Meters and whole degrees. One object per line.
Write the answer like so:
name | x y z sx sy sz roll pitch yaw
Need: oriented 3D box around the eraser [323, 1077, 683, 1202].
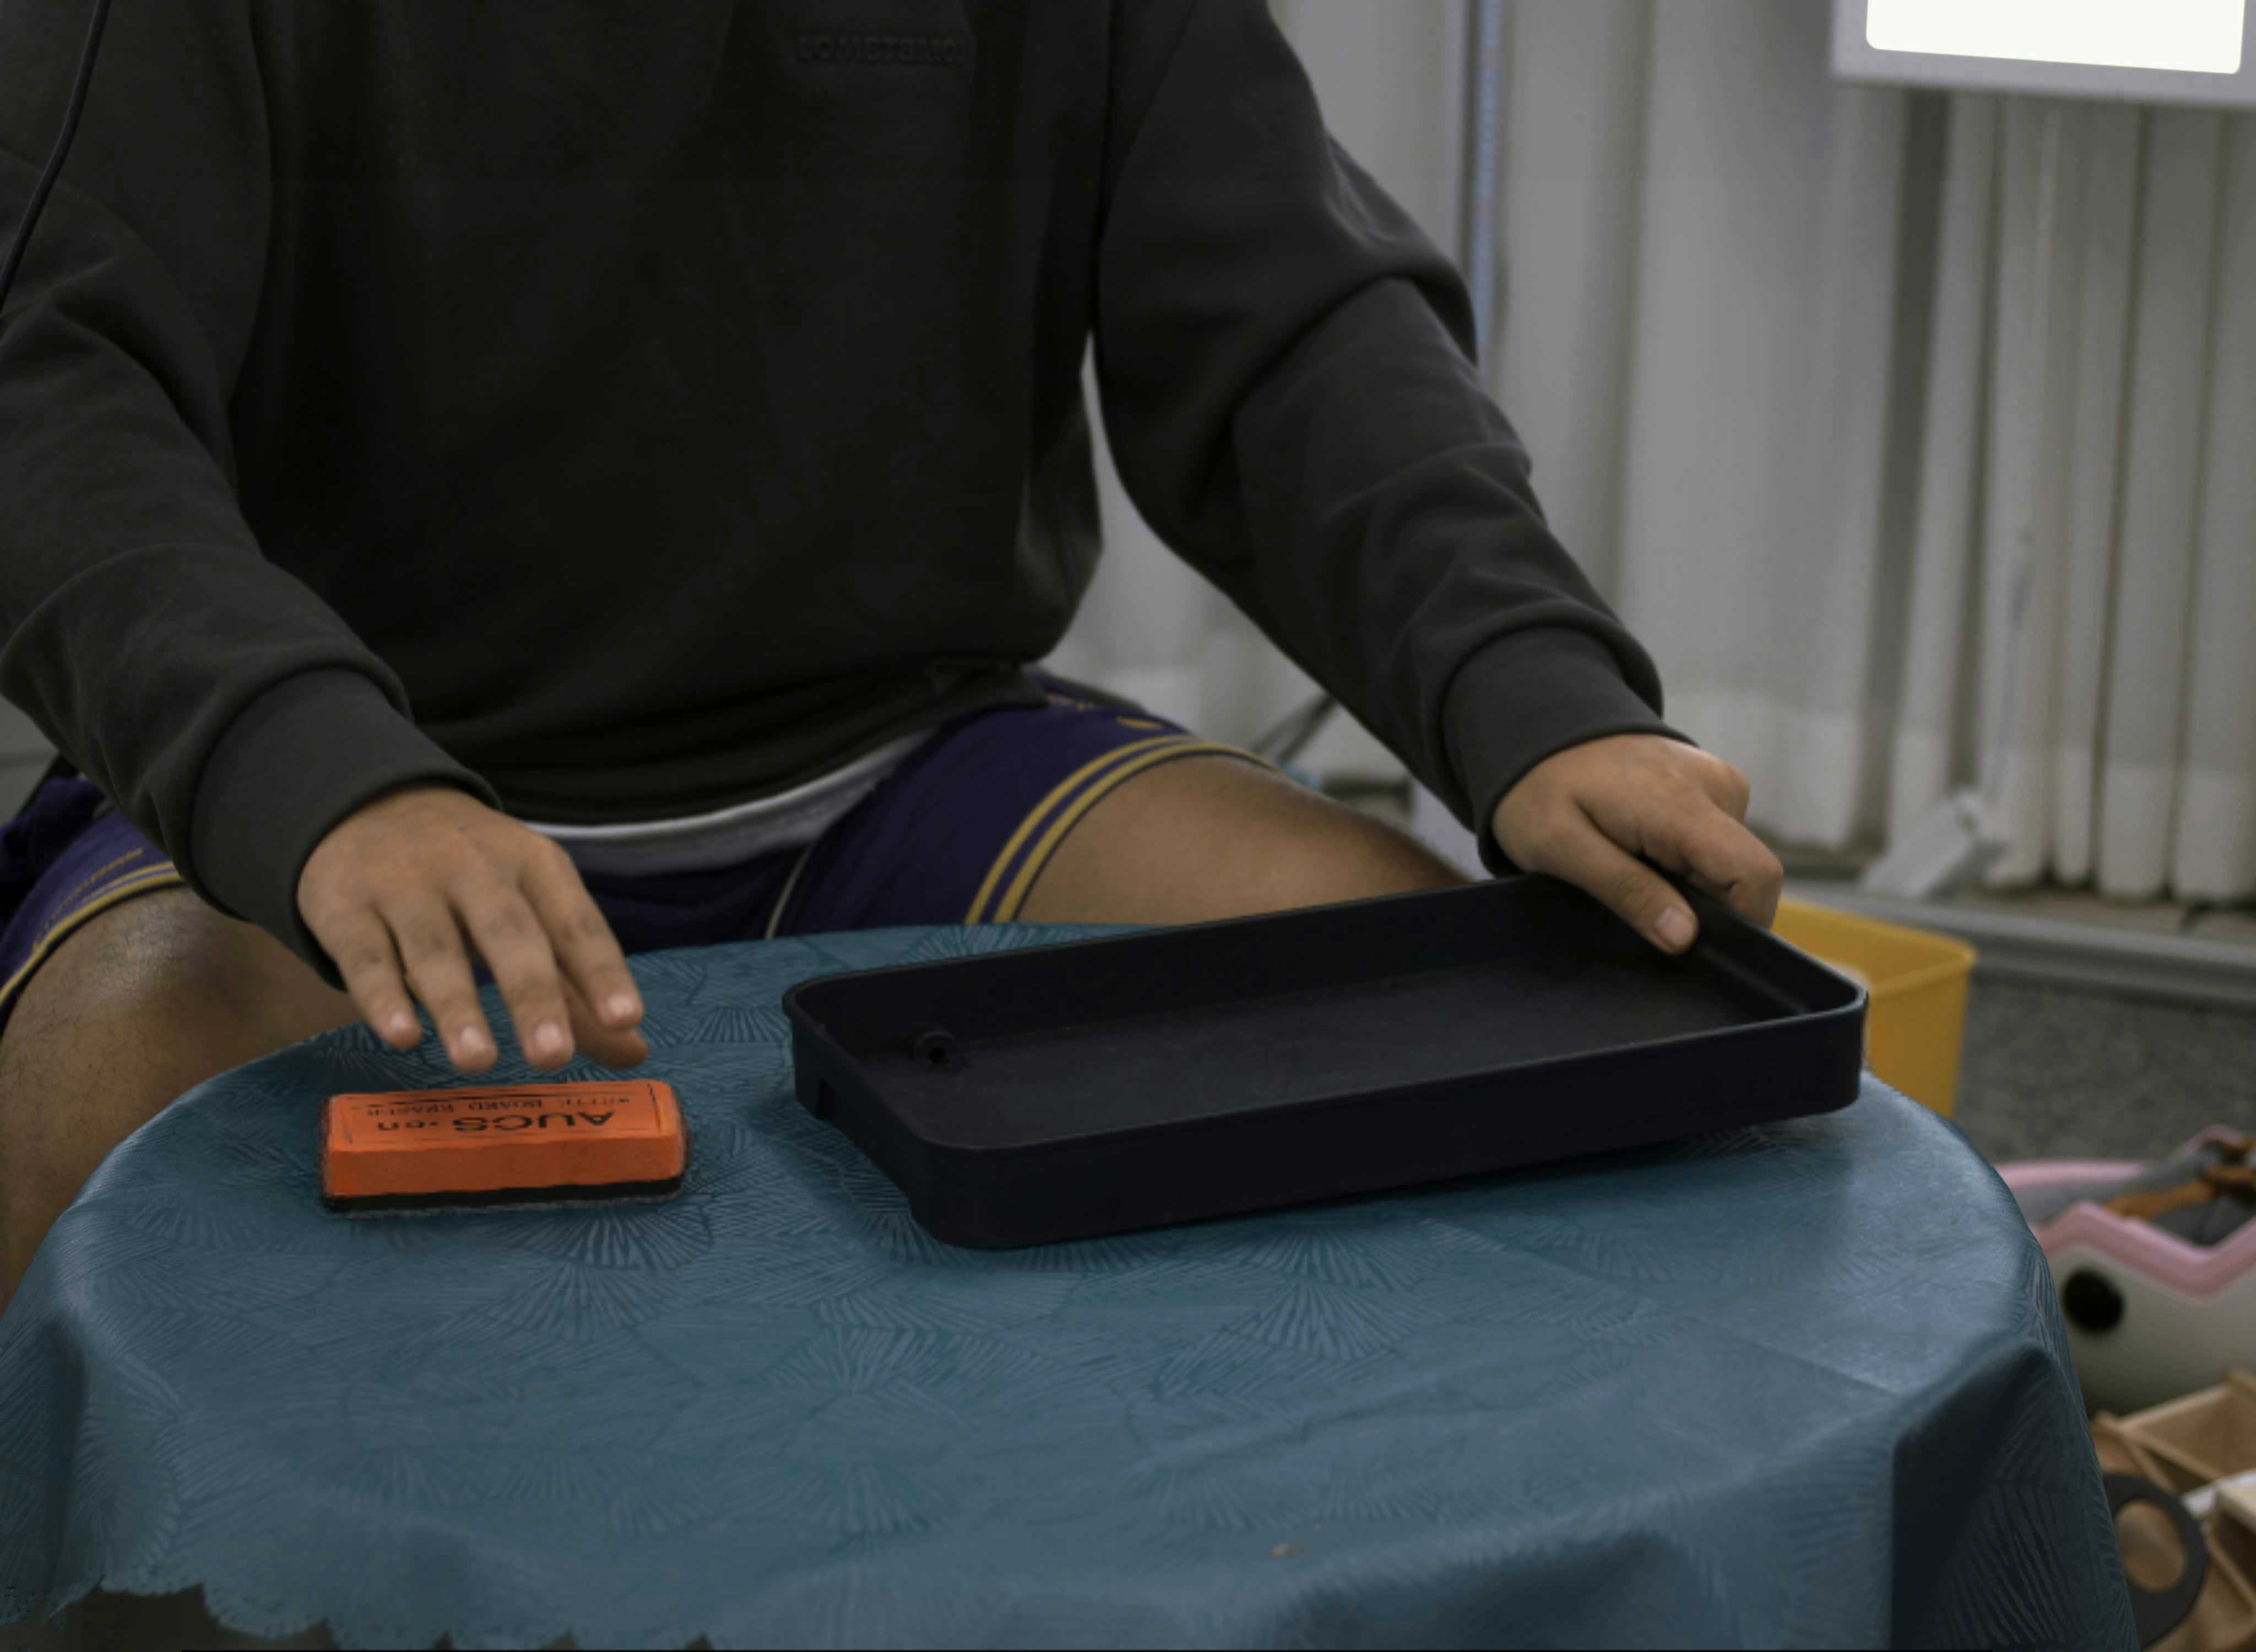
eraser | -0.193 0.096 1.620 0.108 0.023 0.058 -4 8 -10

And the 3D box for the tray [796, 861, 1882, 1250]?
tray | 0.067 0.069 1.692 0.319 0.037 0.182 -8 17 -21
